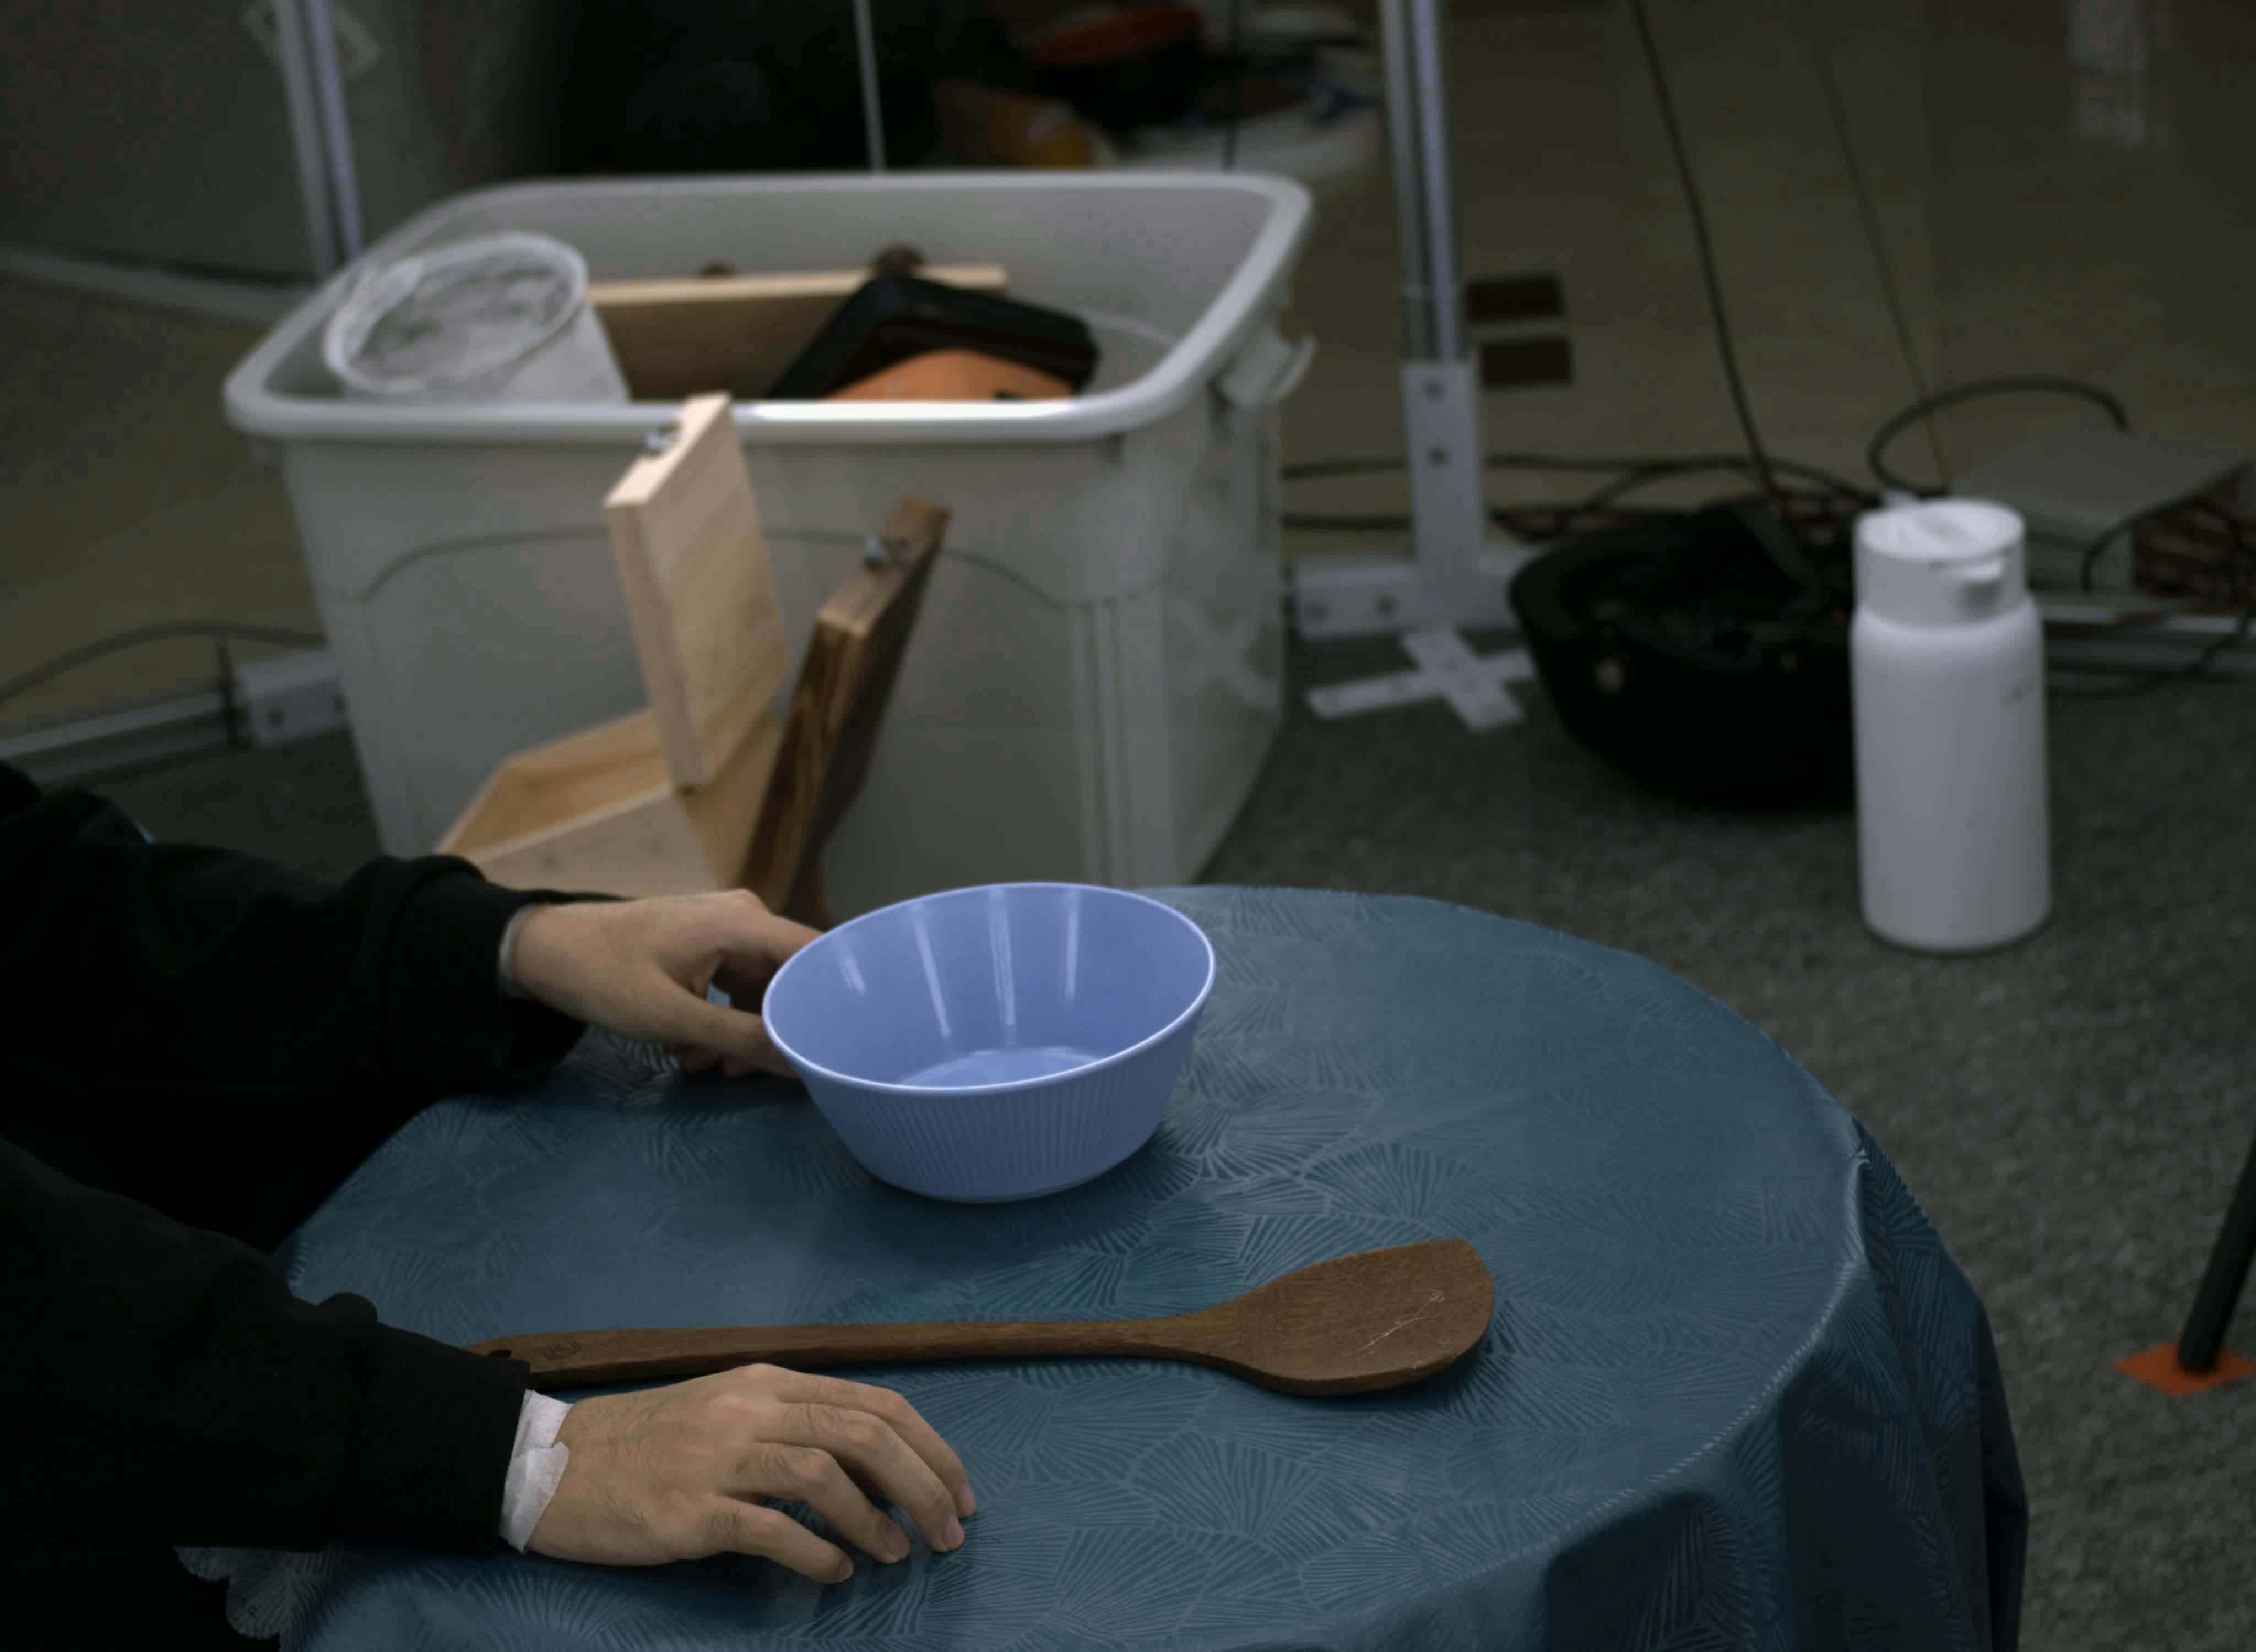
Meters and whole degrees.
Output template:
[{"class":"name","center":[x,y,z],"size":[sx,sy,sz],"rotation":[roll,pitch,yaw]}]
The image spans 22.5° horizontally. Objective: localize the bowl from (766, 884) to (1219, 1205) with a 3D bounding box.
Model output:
[{"class":"bowl","center":[-0.048,0.090,2.187],"size":[0.176,0.071,0.173],"rotation":[-7,25,3]}]

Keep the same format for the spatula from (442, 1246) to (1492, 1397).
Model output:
[{"class":"spatula","center":[-0.061,0.186,2.050],"size":[0.385,0.016,0.095],"rotation":[-3,25,7]}]
